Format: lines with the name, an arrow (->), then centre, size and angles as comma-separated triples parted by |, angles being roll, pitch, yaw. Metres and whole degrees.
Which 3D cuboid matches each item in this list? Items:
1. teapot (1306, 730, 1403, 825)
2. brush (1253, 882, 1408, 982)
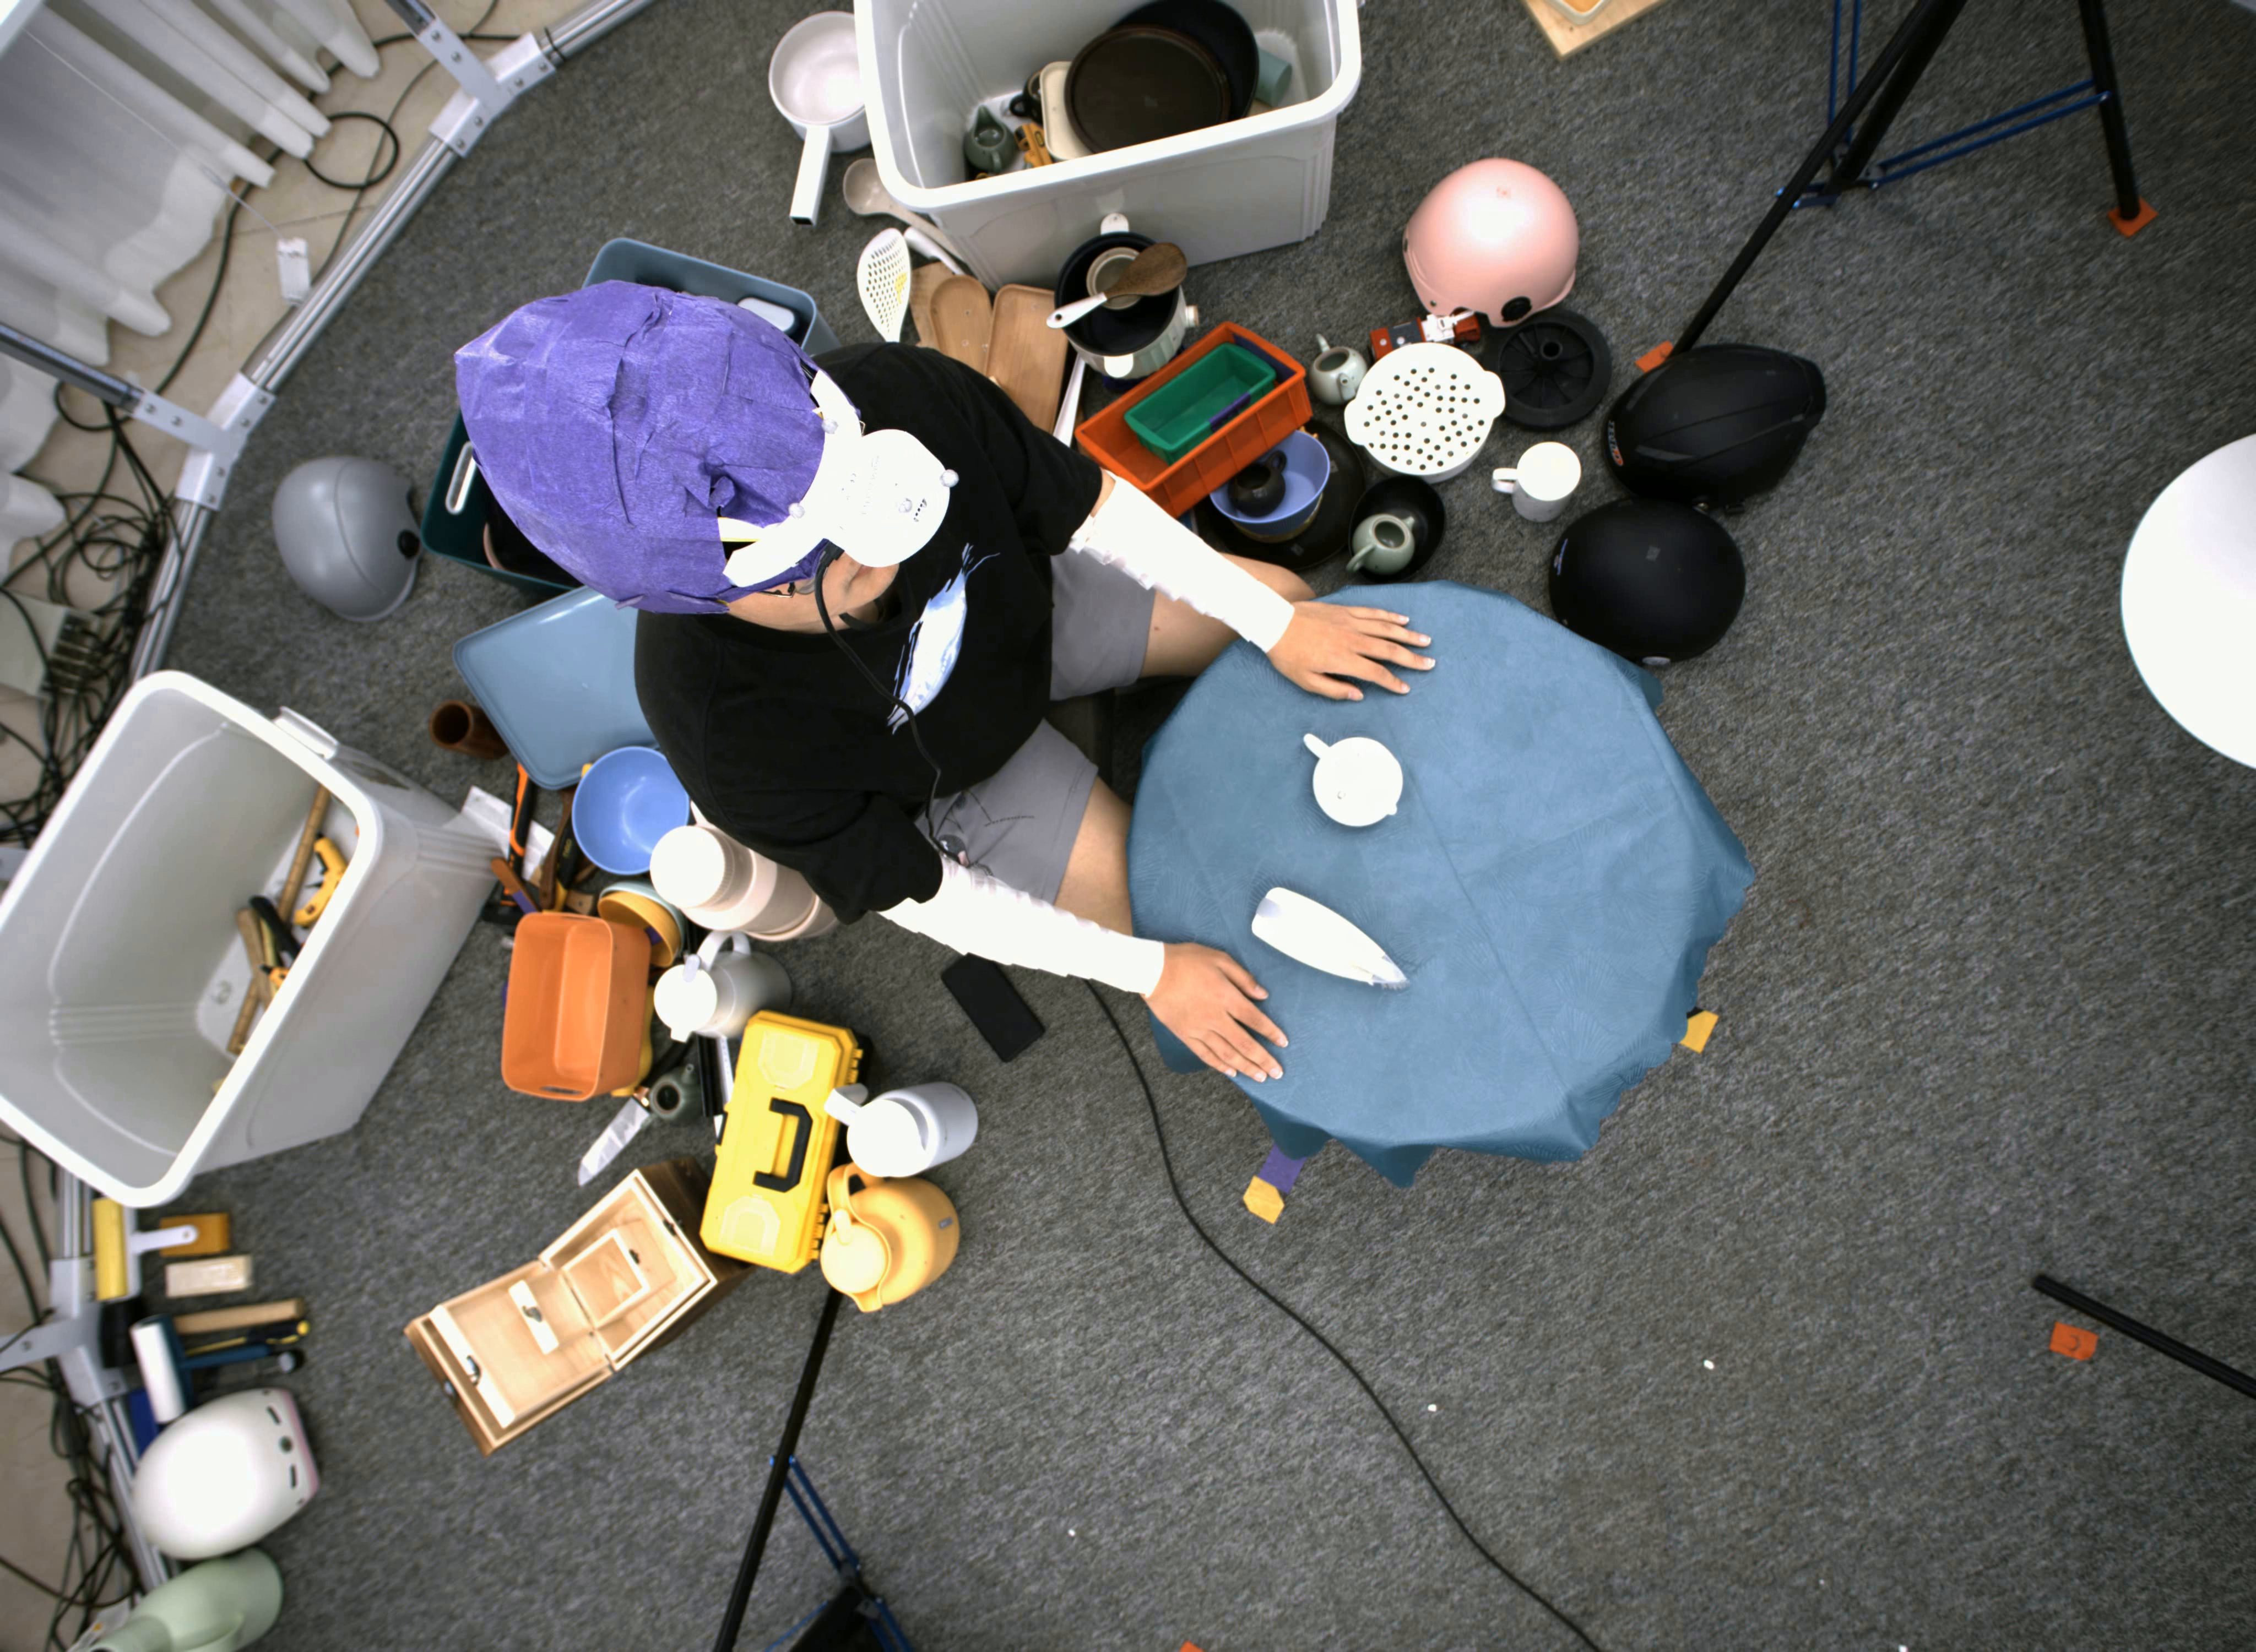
teapot -> 0.233, -0.056, 1.445 | 0.127, 0.056, 0.094 | 42, 98, 11
brush -> 0.209, 0.117, 1.421 | 0.175, 0.094, 0.061 | 28, 93, 10
